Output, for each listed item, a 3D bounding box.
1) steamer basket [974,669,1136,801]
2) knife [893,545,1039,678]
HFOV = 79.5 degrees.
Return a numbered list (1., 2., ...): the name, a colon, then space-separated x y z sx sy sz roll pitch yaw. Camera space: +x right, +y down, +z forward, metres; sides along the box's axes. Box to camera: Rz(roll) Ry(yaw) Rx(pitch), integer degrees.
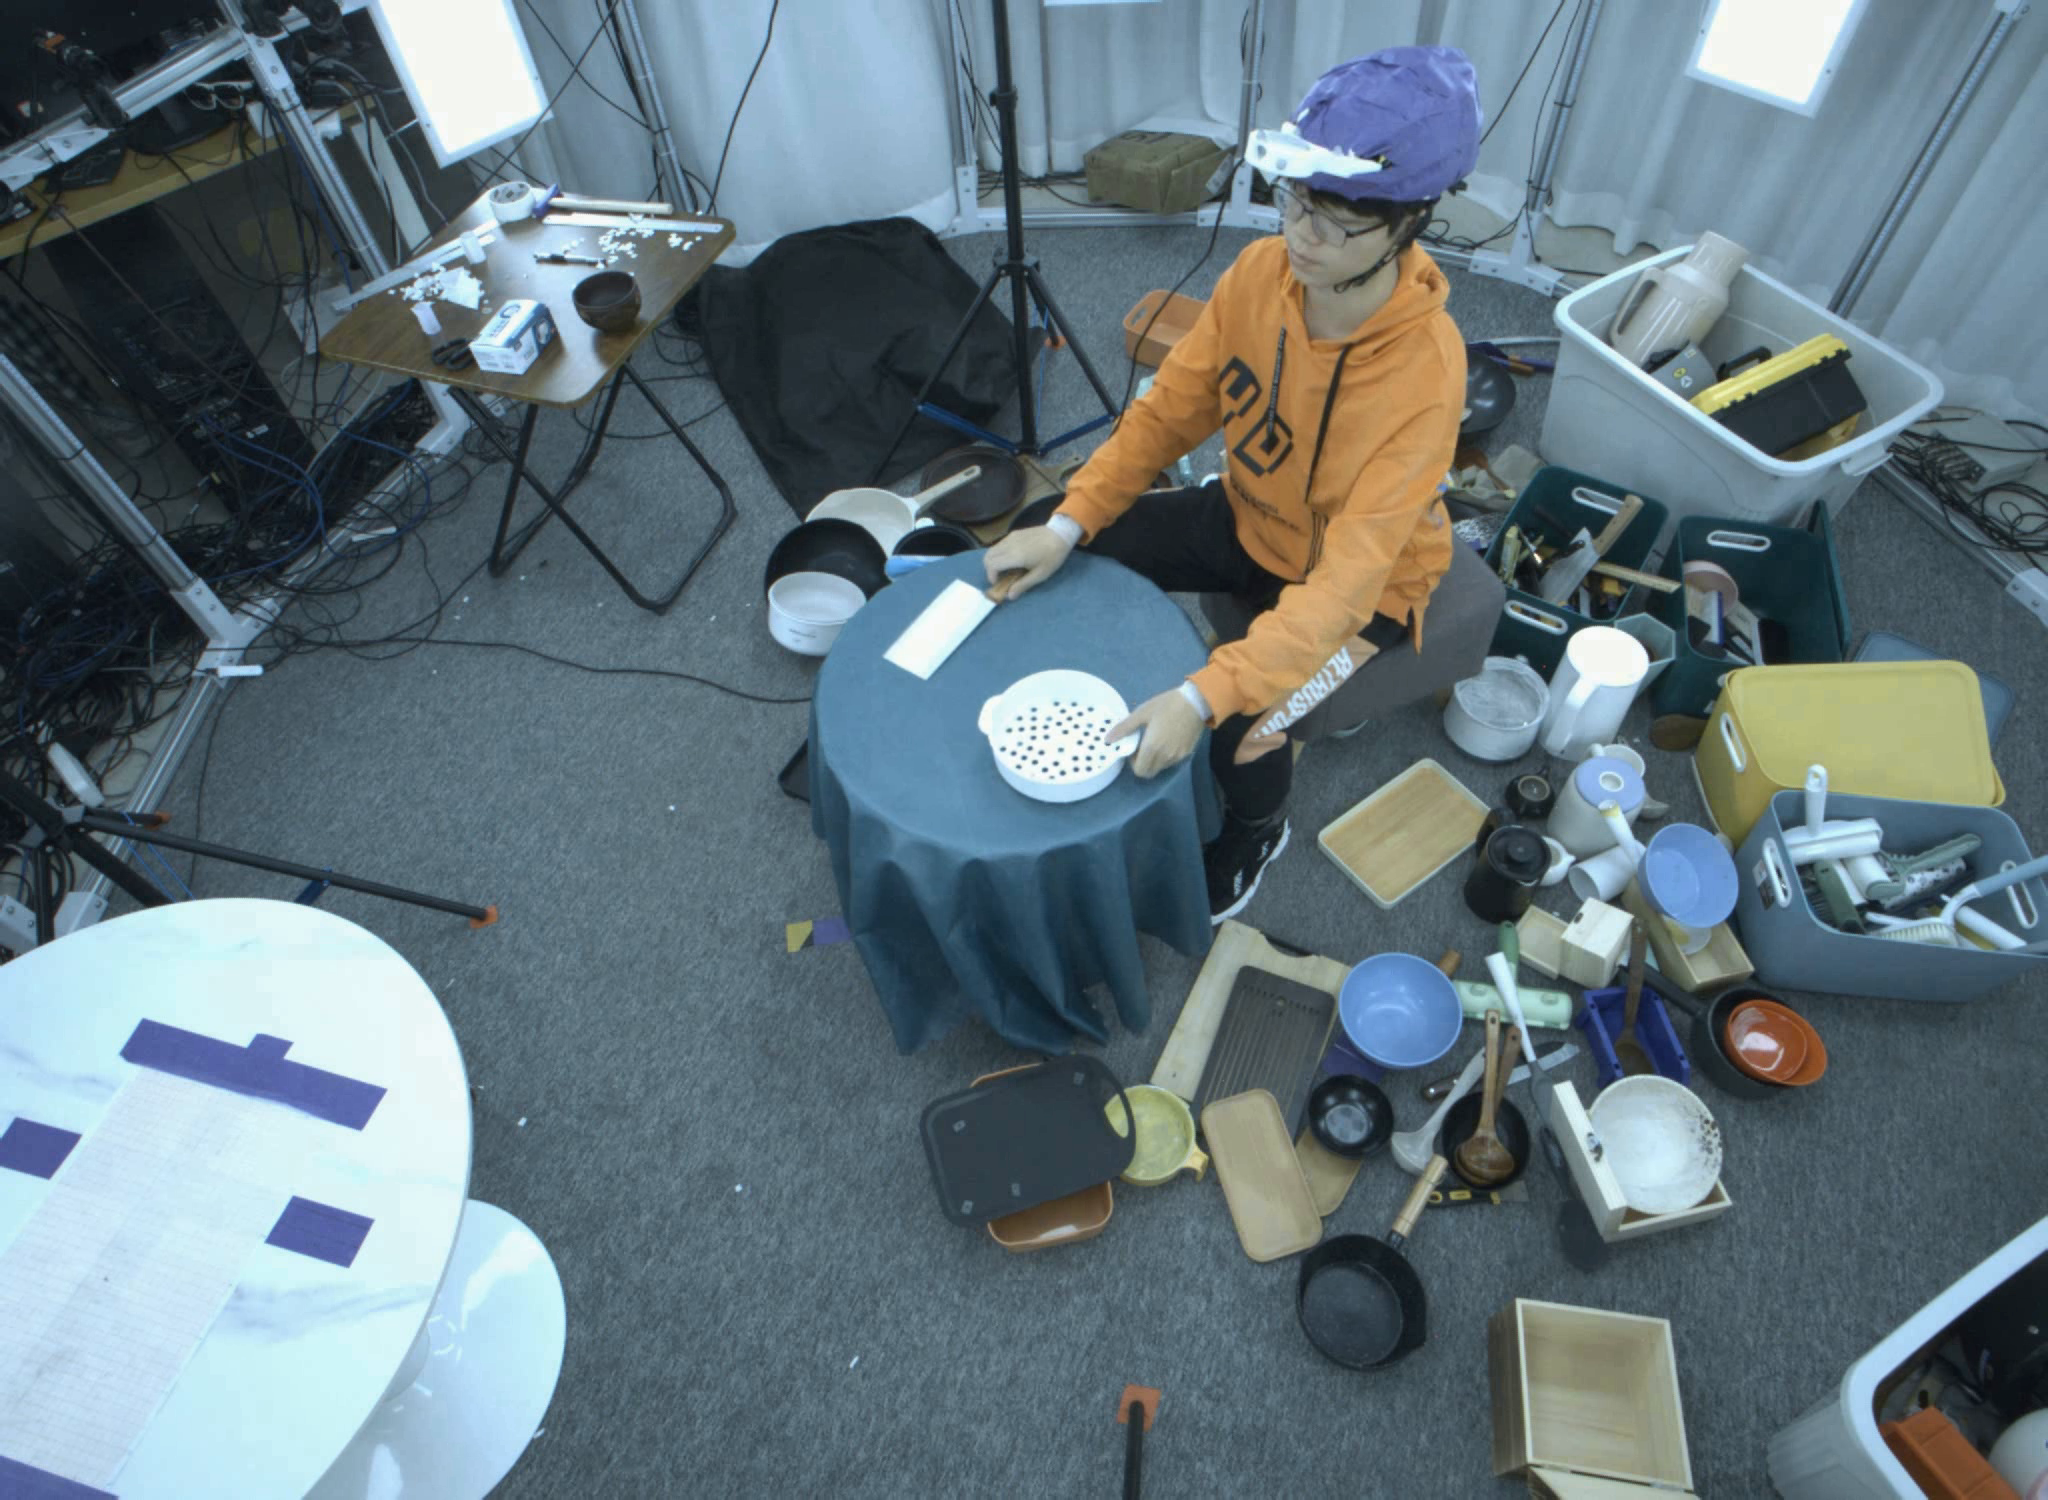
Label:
1. steamer basket: 0.045 -0.019 1.756 0.229 0.070 0.201 9 55 11
2. knife: -0.095 -0.231 1.945 0.091 0.021 0.307 29 63 22
